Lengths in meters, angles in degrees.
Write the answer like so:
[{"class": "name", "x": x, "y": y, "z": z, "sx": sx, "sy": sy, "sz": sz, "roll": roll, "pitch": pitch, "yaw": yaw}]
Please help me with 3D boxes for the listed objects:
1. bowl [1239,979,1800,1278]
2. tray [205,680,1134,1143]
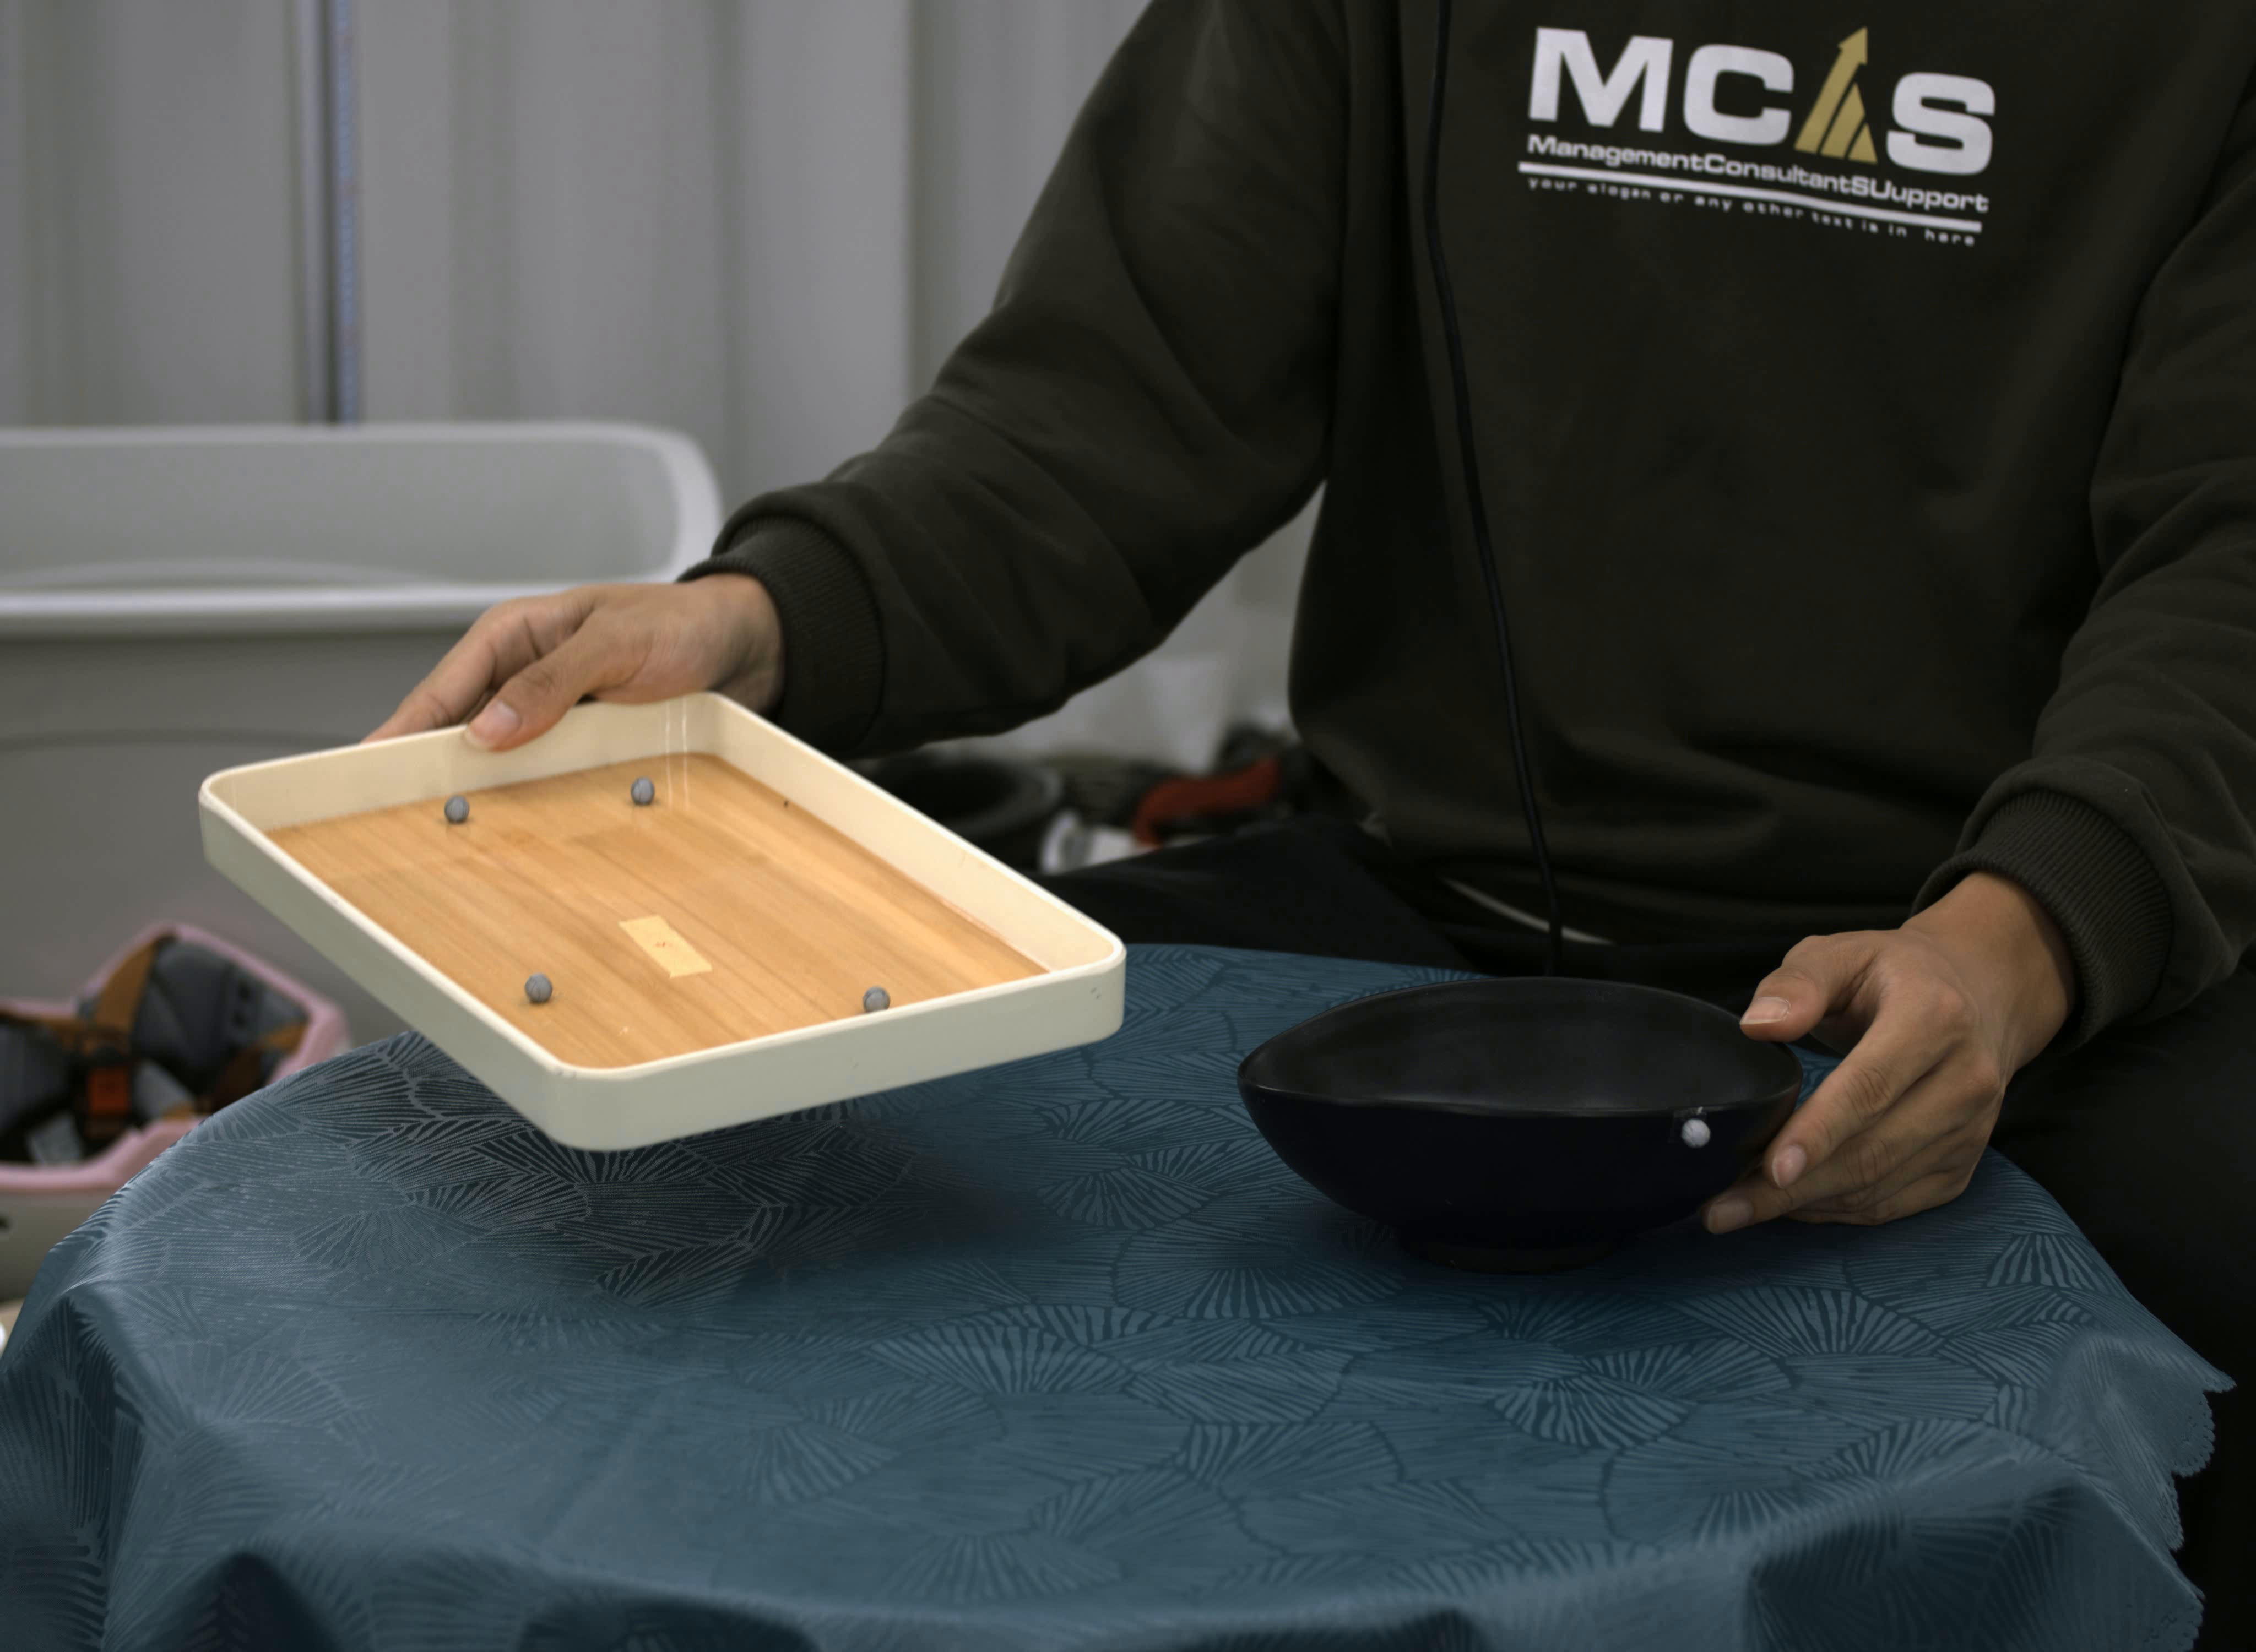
[{"class": "bowl", "x": 0.116, "y": 0.095, "z": 1.584, "sx": 0.169, "sy": 0.067, "sz": 0.137, "roll": 2, "pitch": 14, "yaw": 9}, {"class": "tray", "x": -0.149, "y": 0.021, "z": 1.647, "sx": 0.192, "sy": 0.027, "sz": 0.296, "roll": -12, "pitch": 24, "yaw": -29}]
